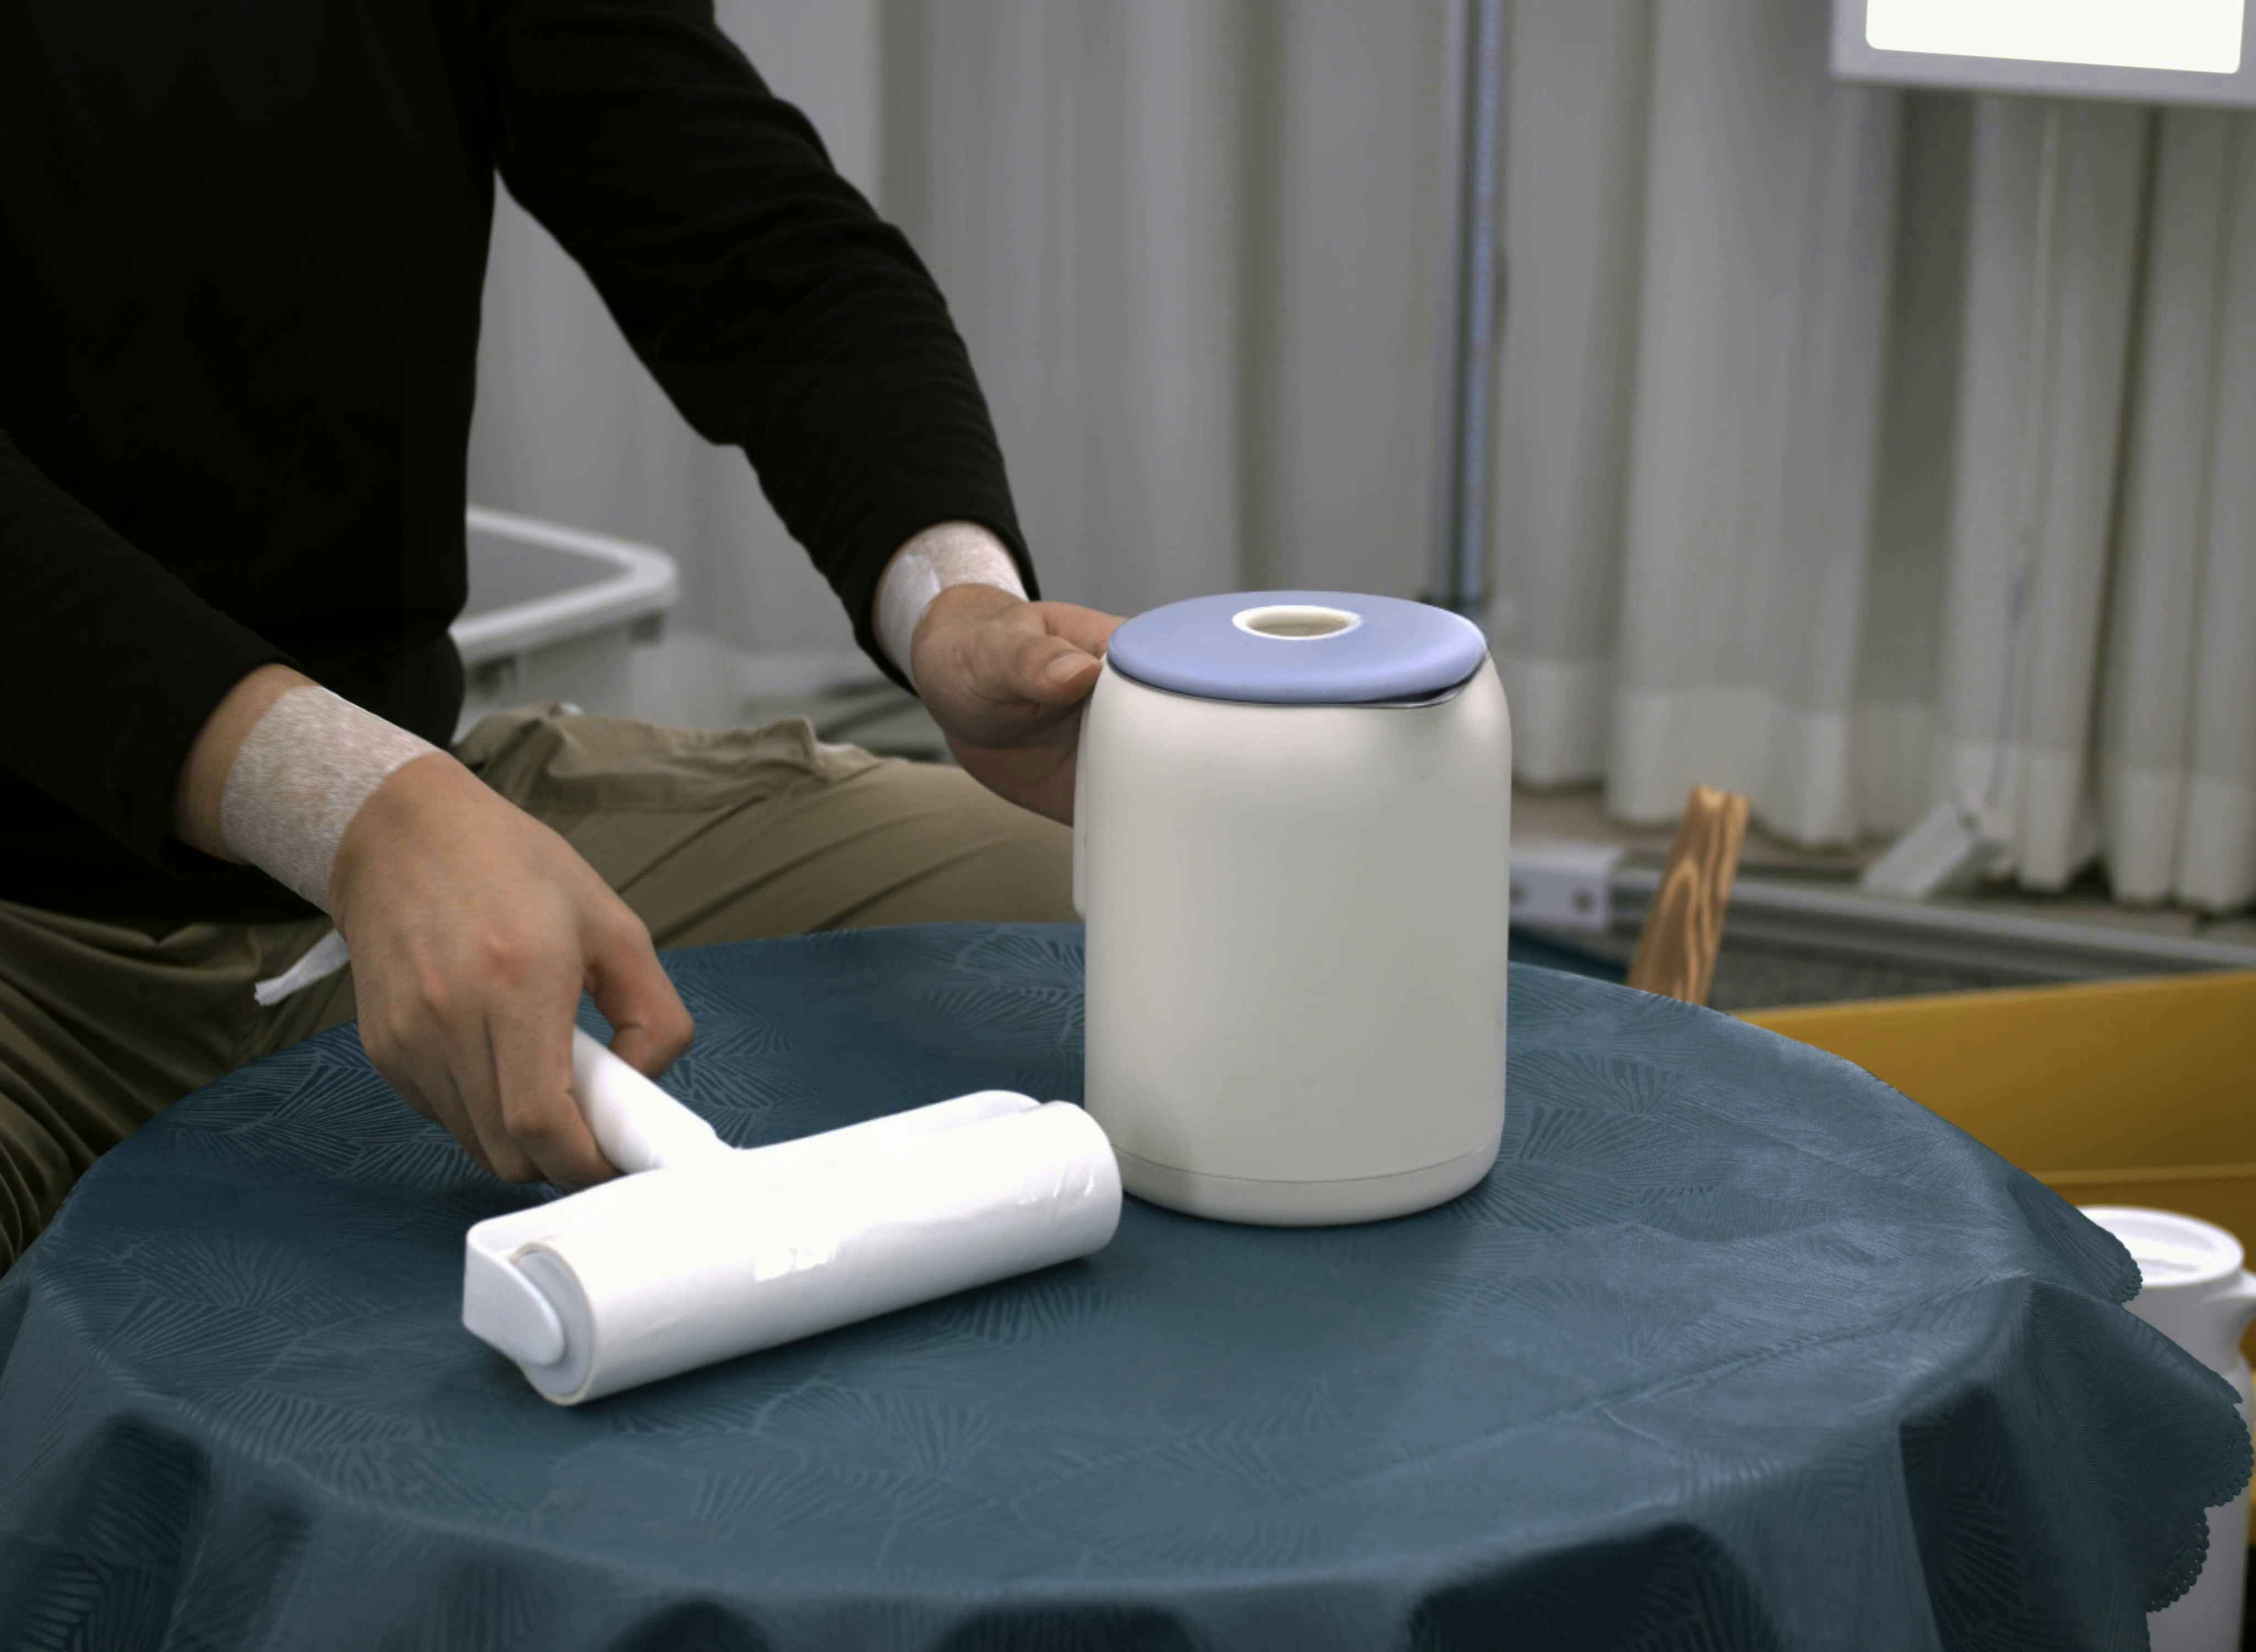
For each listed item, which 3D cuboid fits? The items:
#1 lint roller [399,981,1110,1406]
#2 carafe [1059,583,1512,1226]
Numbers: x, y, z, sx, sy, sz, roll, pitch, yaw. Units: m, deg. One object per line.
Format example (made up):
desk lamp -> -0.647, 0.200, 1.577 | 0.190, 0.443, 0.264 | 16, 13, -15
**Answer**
lint roller -> -0.147, 0.087, 1.559 | 0.204, 0.049, 0.222 | -15, 32, -39
carafe -> 0.038, 0.018, 1.639 | 0.133, 0.184, 0.188 | -10, 17, -34
